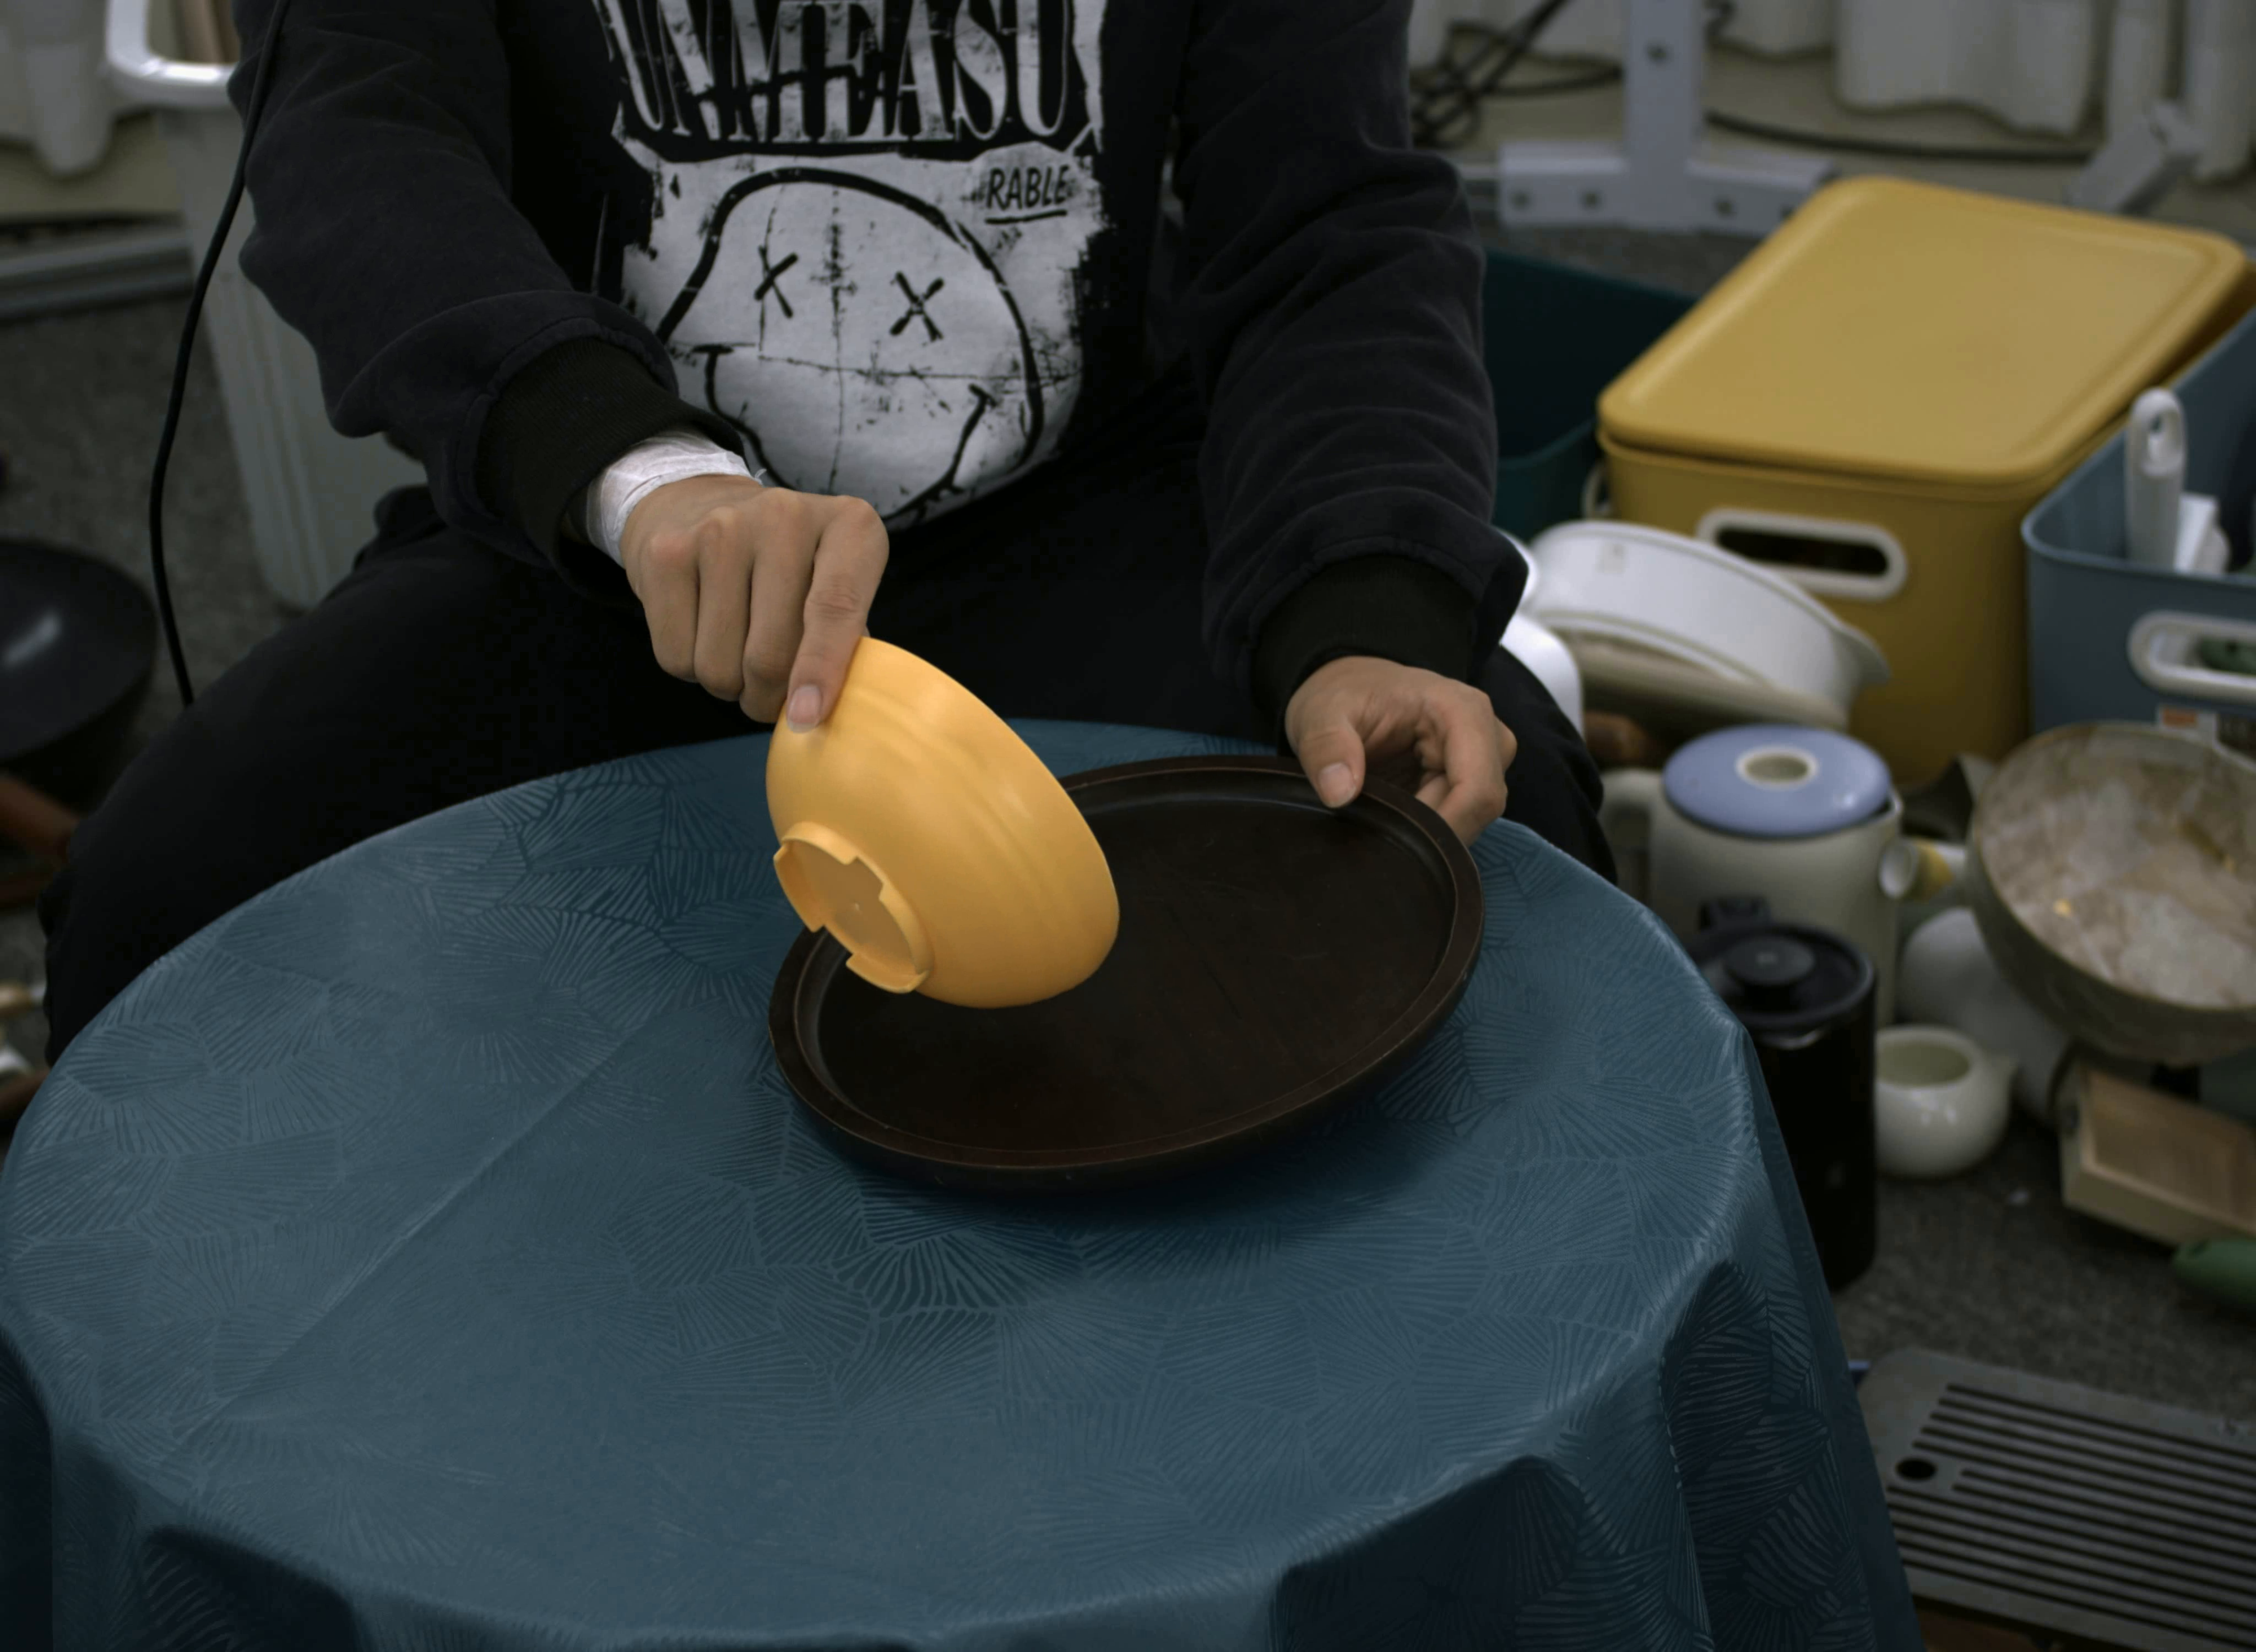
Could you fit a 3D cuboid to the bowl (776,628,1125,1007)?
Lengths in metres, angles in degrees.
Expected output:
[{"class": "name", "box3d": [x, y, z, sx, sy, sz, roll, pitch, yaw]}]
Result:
[{"class": "bowl", "box3d": [-0.071, 0.010, 1.853, 0.061, 0.143, 0.145, -40, 42, -24]}]

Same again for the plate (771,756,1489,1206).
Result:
[{"class": "plate", "box3d": [0.002, 0.052, 1.936, 0.253, 0.029, 0.259, -10, 29, 6]}]
